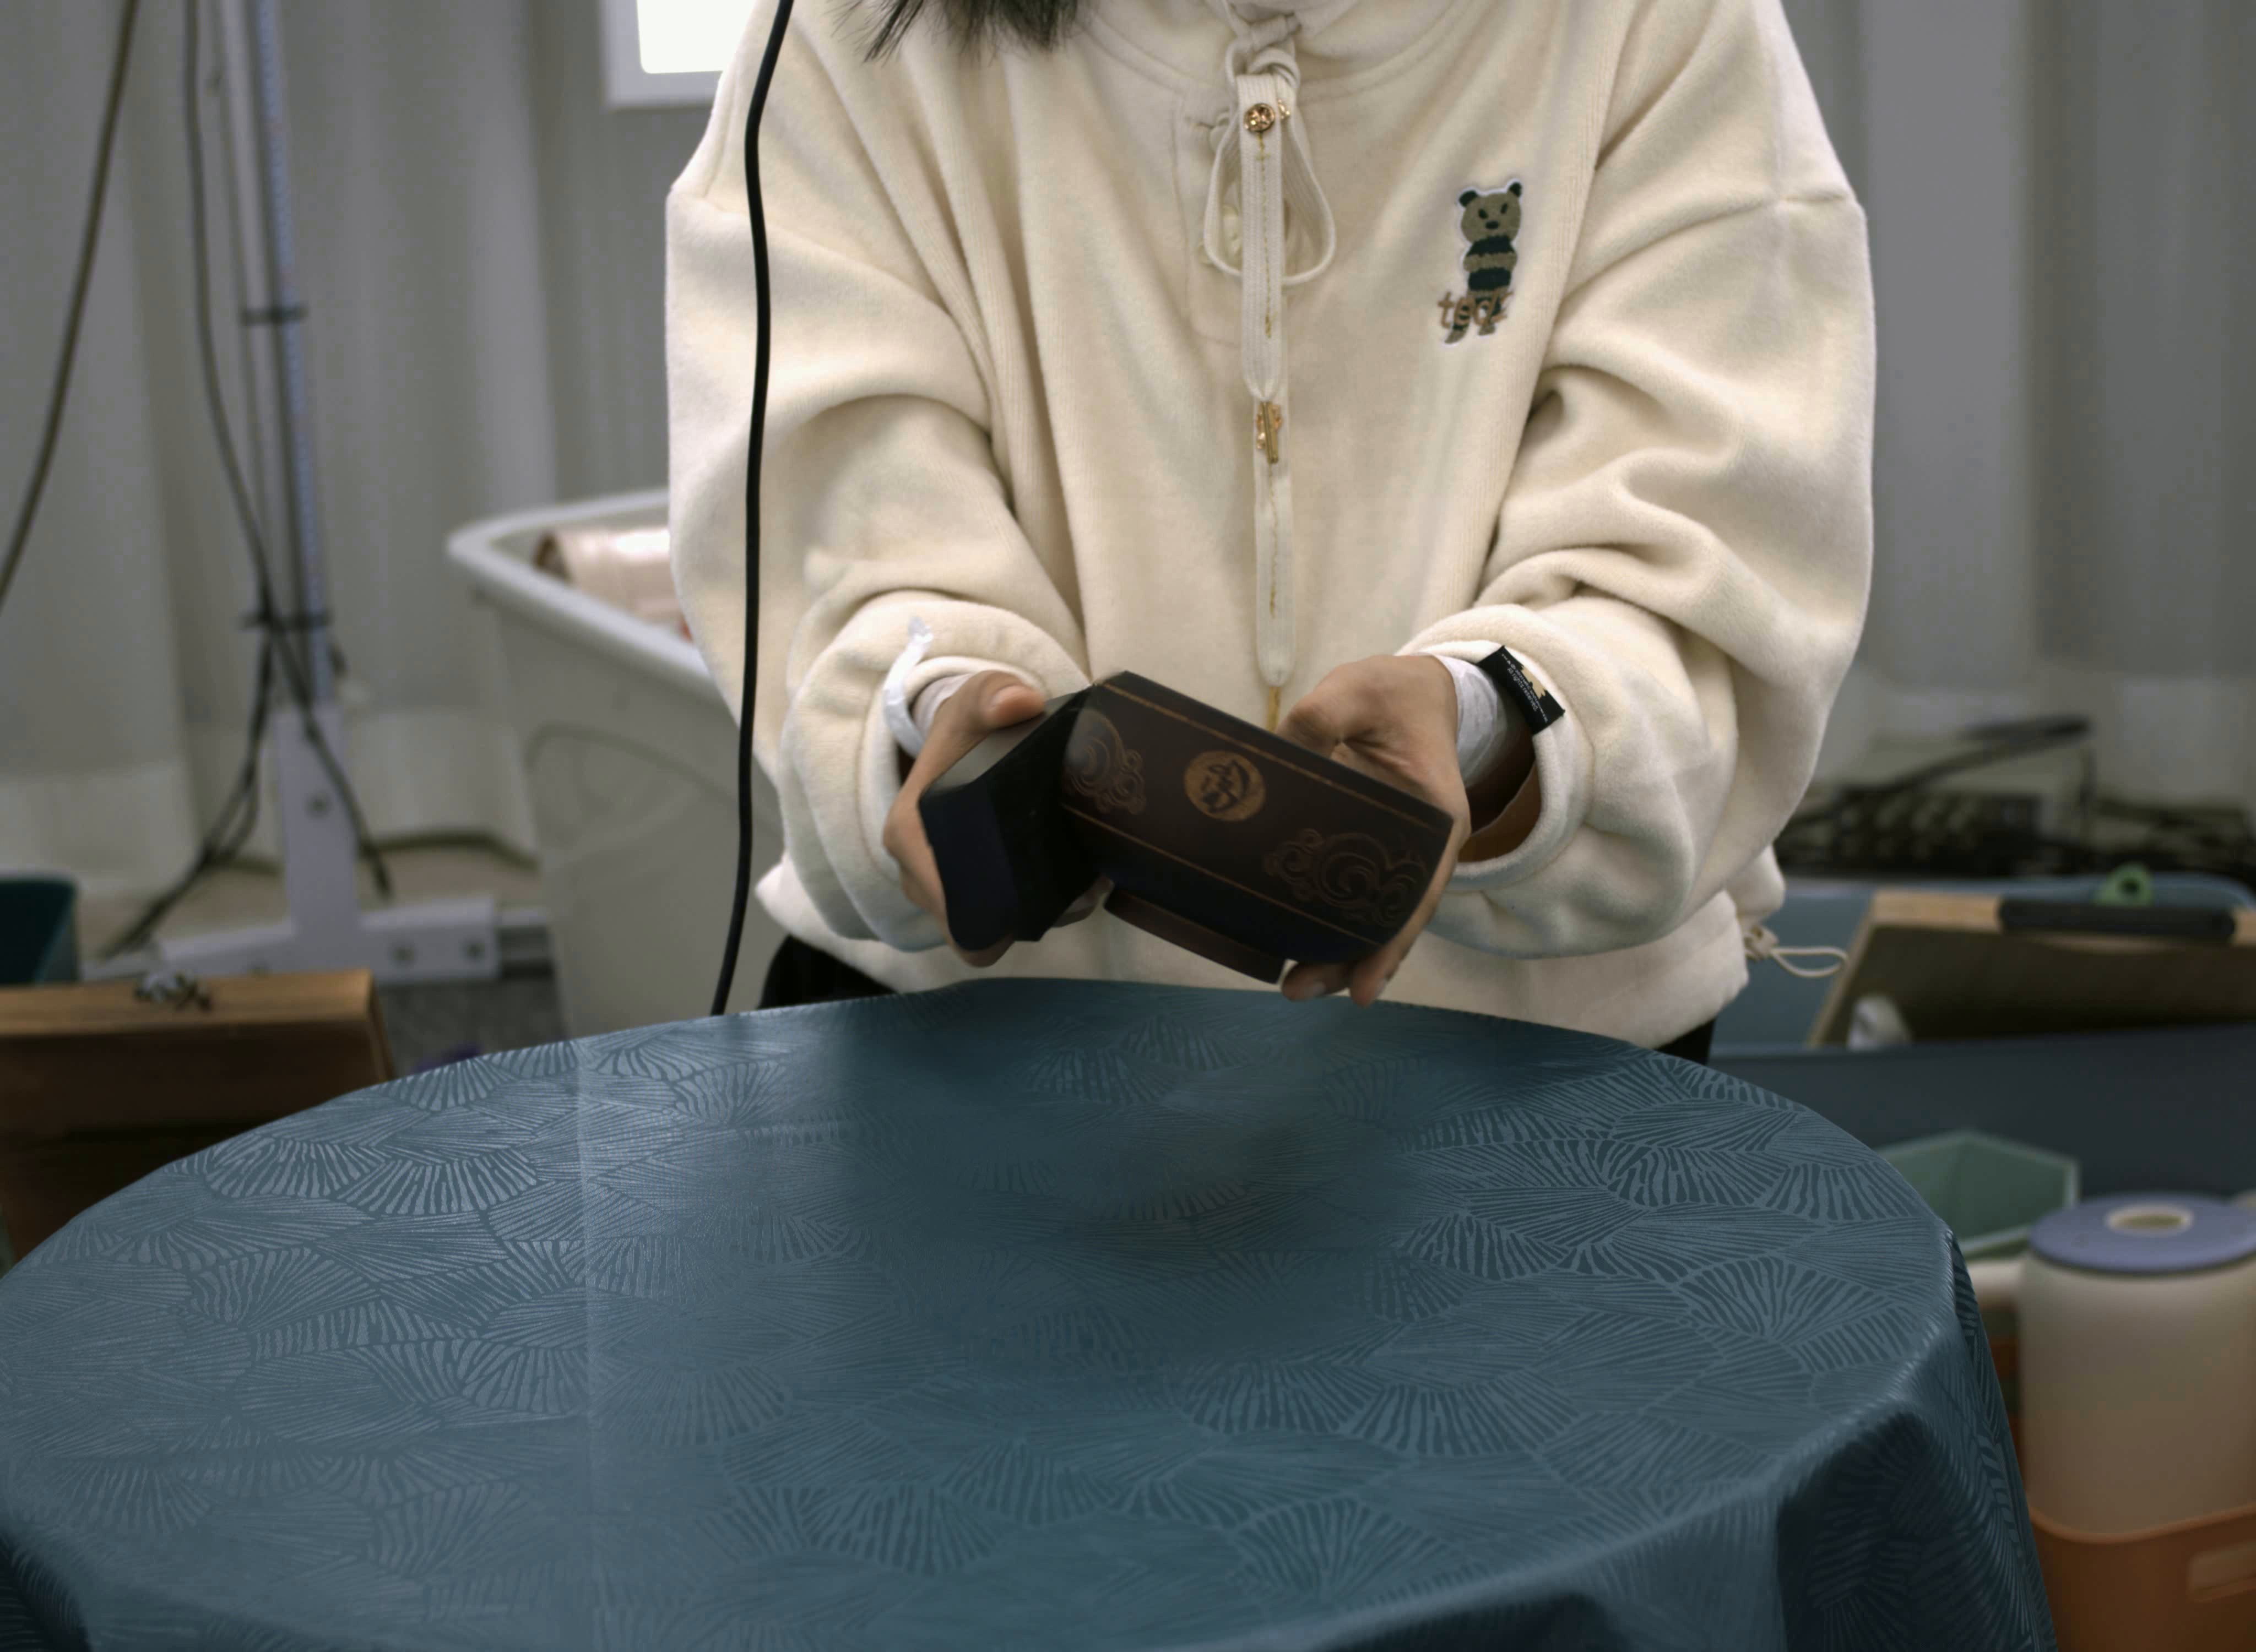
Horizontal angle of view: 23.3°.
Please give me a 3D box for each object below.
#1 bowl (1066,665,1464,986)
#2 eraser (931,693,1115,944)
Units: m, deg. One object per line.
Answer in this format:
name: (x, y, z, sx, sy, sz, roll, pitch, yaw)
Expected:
bowl: (0.035, 0.005, 1.632, 0.118, 0.070, 0.118, 23, -1, 0)
eraser: (-0.028, -0.004, 1.660, 0.030, 0.053, 0.126, -9, 9, 16)
